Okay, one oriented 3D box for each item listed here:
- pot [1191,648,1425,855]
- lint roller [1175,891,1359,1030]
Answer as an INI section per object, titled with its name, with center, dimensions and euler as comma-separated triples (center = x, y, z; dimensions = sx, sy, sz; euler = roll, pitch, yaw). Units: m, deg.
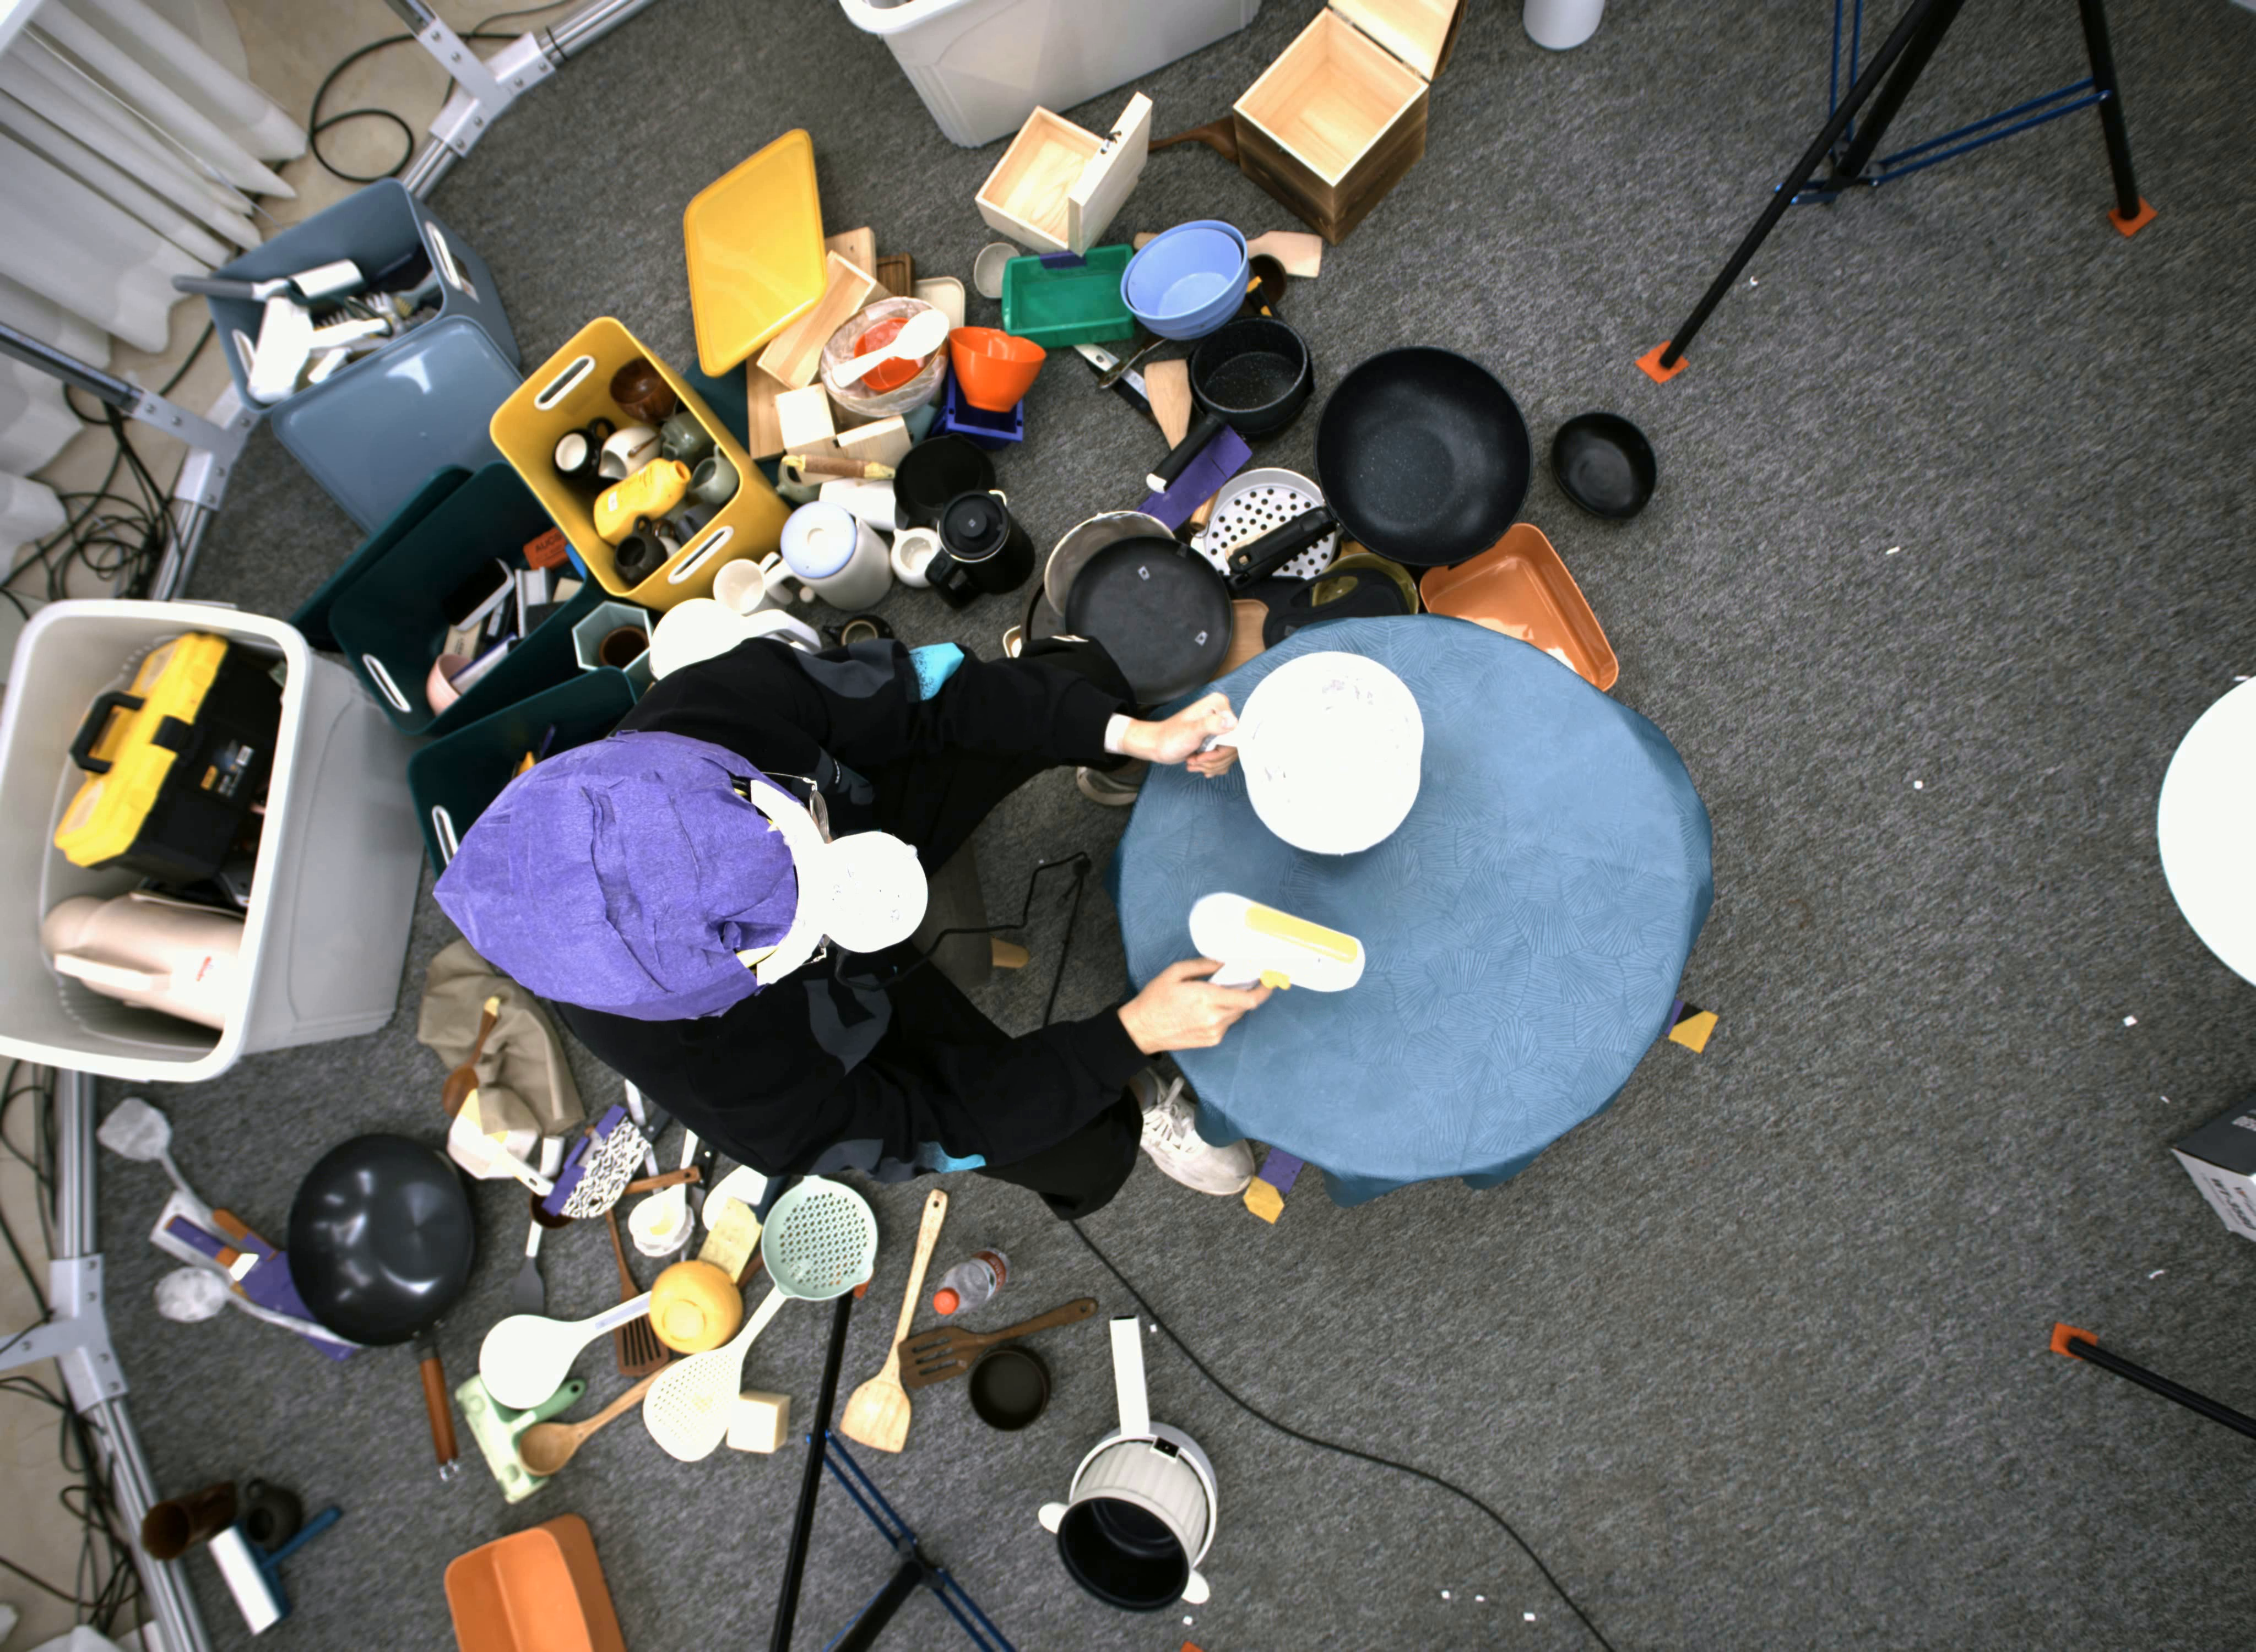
[pot]
center = 0.174, -0.073, 1.371
dimensions = 0.234, 0.138, 0.176
euler = 9, 73, 12
[lint roller]
center = 0.108, 0.142, 1.383
dimensions = 0.193, 0.197, 0.072
euler = 15, 56, -25
